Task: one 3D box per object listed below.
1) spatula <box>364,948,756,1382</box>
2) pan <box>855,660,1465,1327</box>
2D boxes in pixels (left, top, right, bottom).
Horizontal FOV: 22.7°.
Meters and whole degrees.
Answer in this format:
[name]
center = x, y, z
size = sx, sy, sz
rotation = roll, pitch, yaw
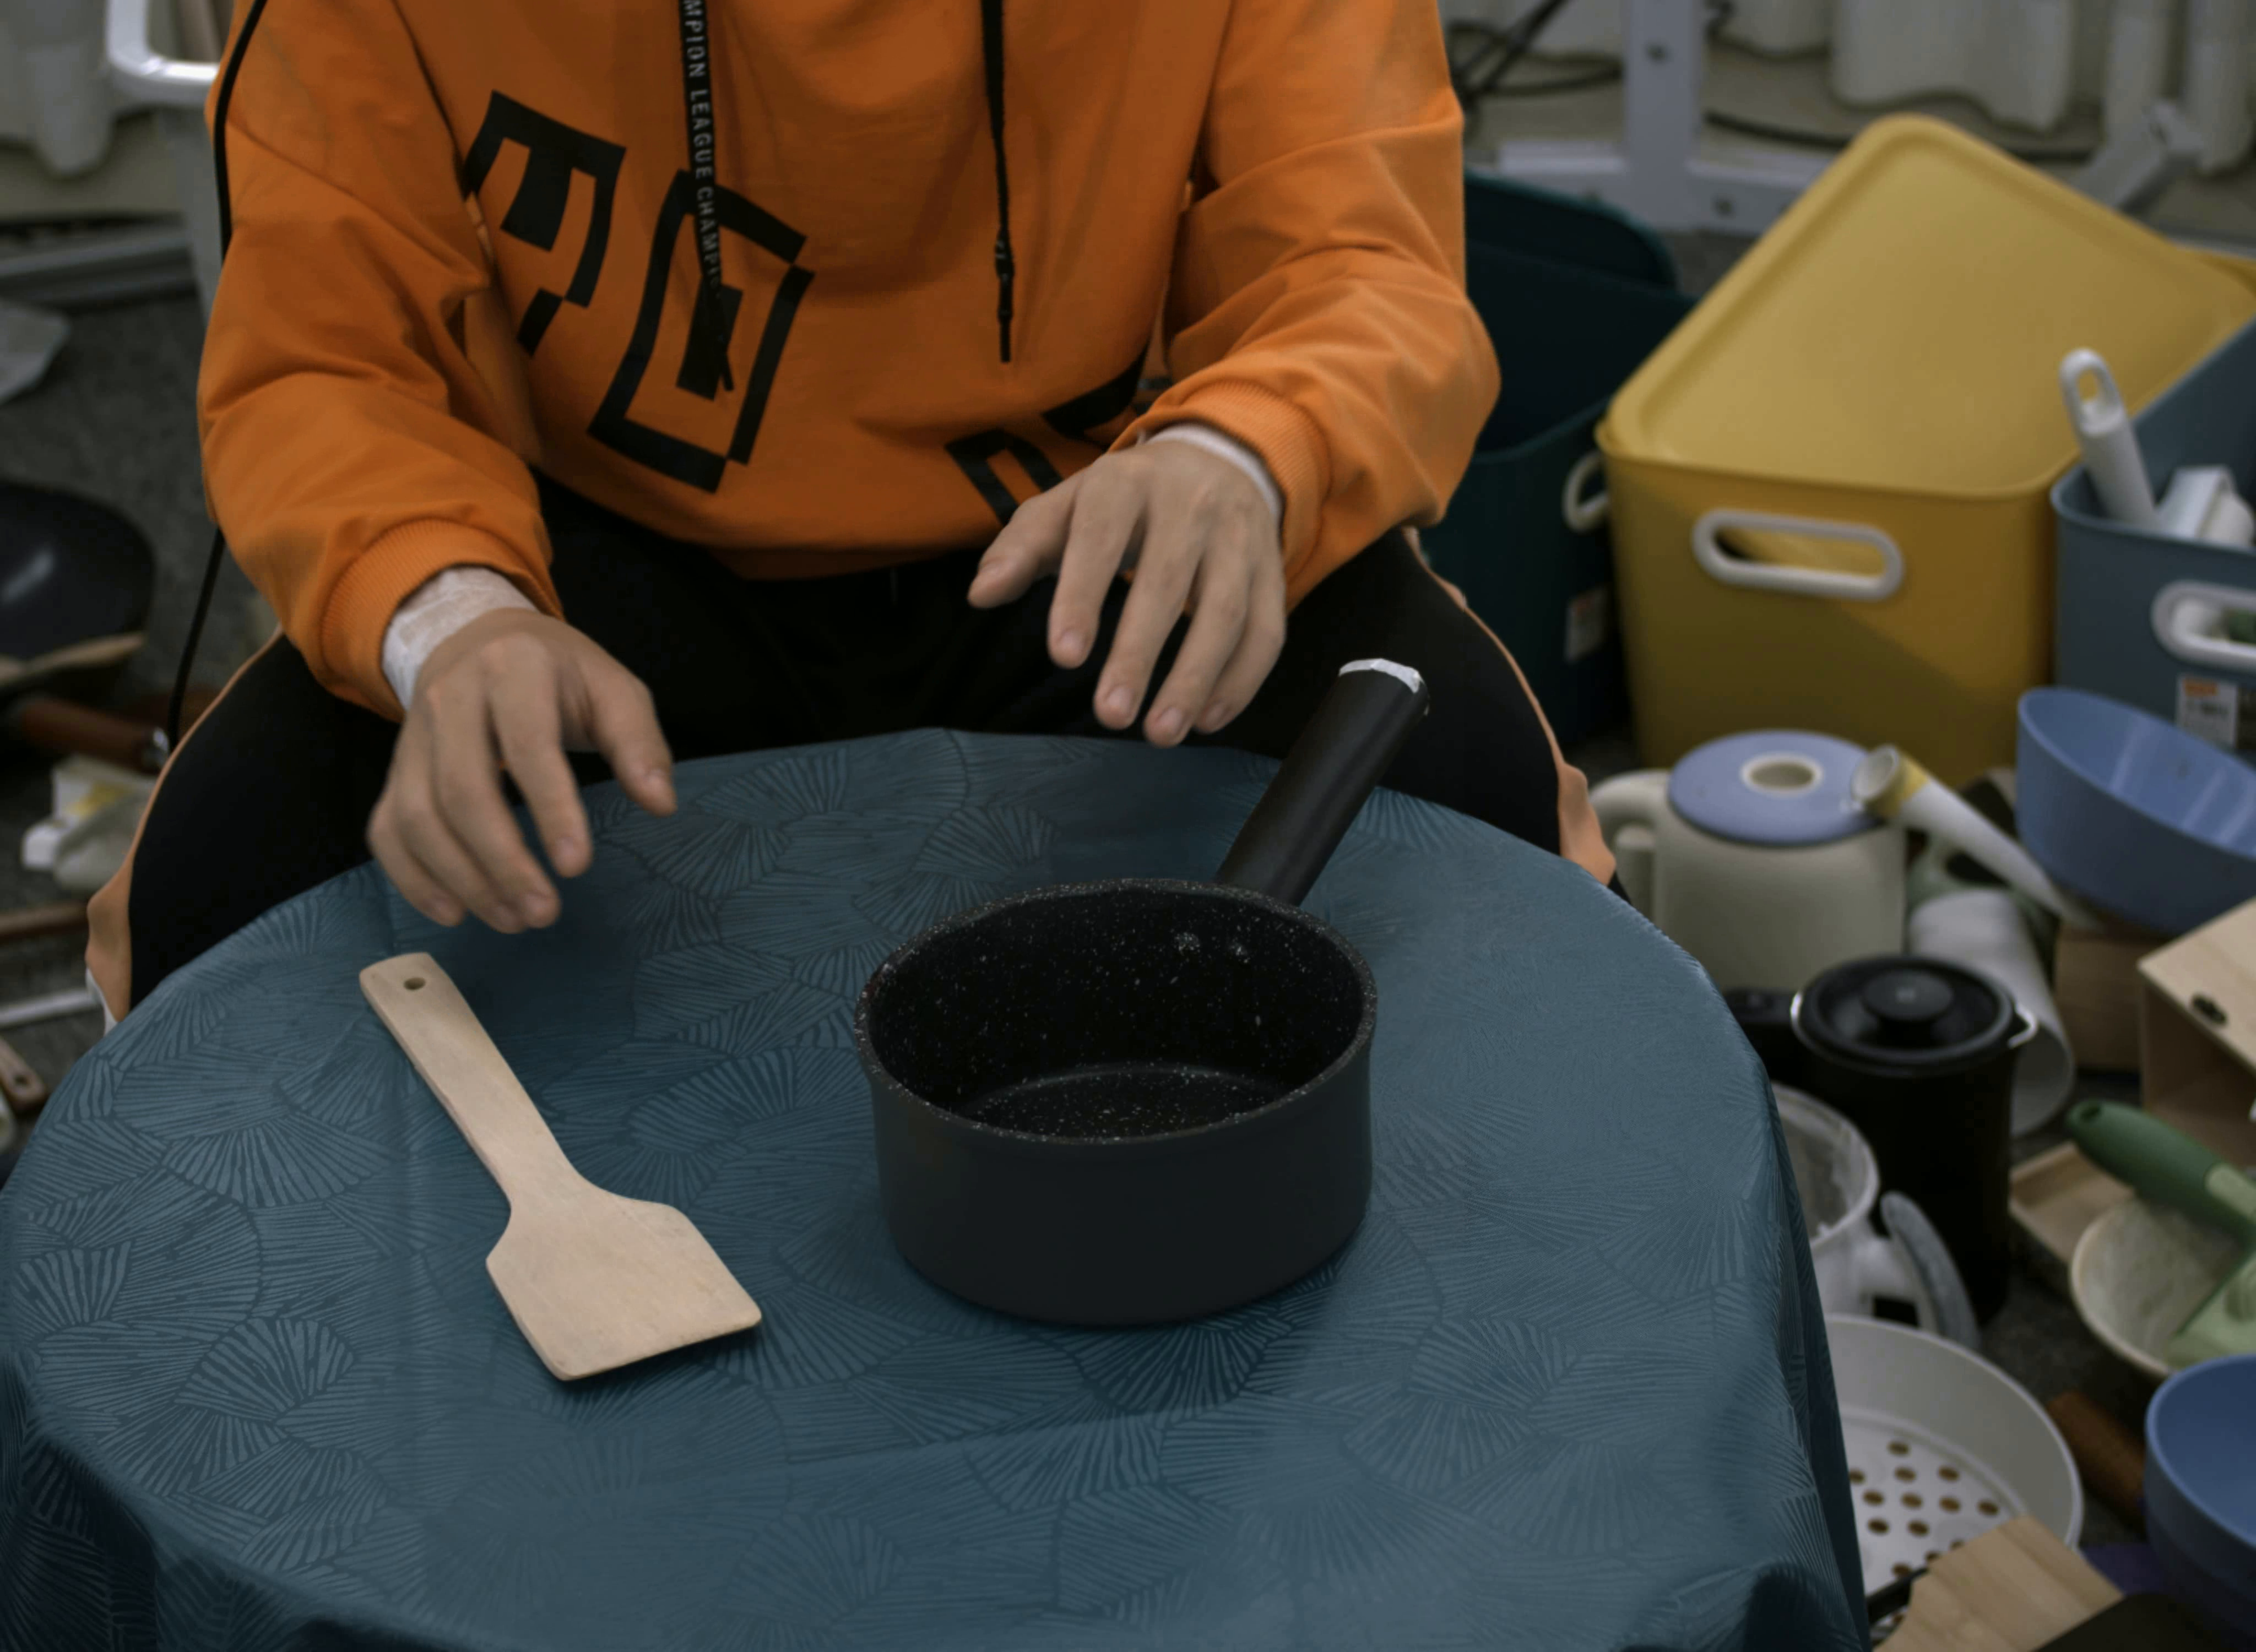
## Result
[spatula]
center = -0.207, 0.109, 1.897
size = 0.072, 0.010, 0.295
rotation = -17, 30, -18
[pan]
center = 0.033, 0.052, 1.902
size = 0.171, 0.085, 0.334
rotation = 11, 32, 24
